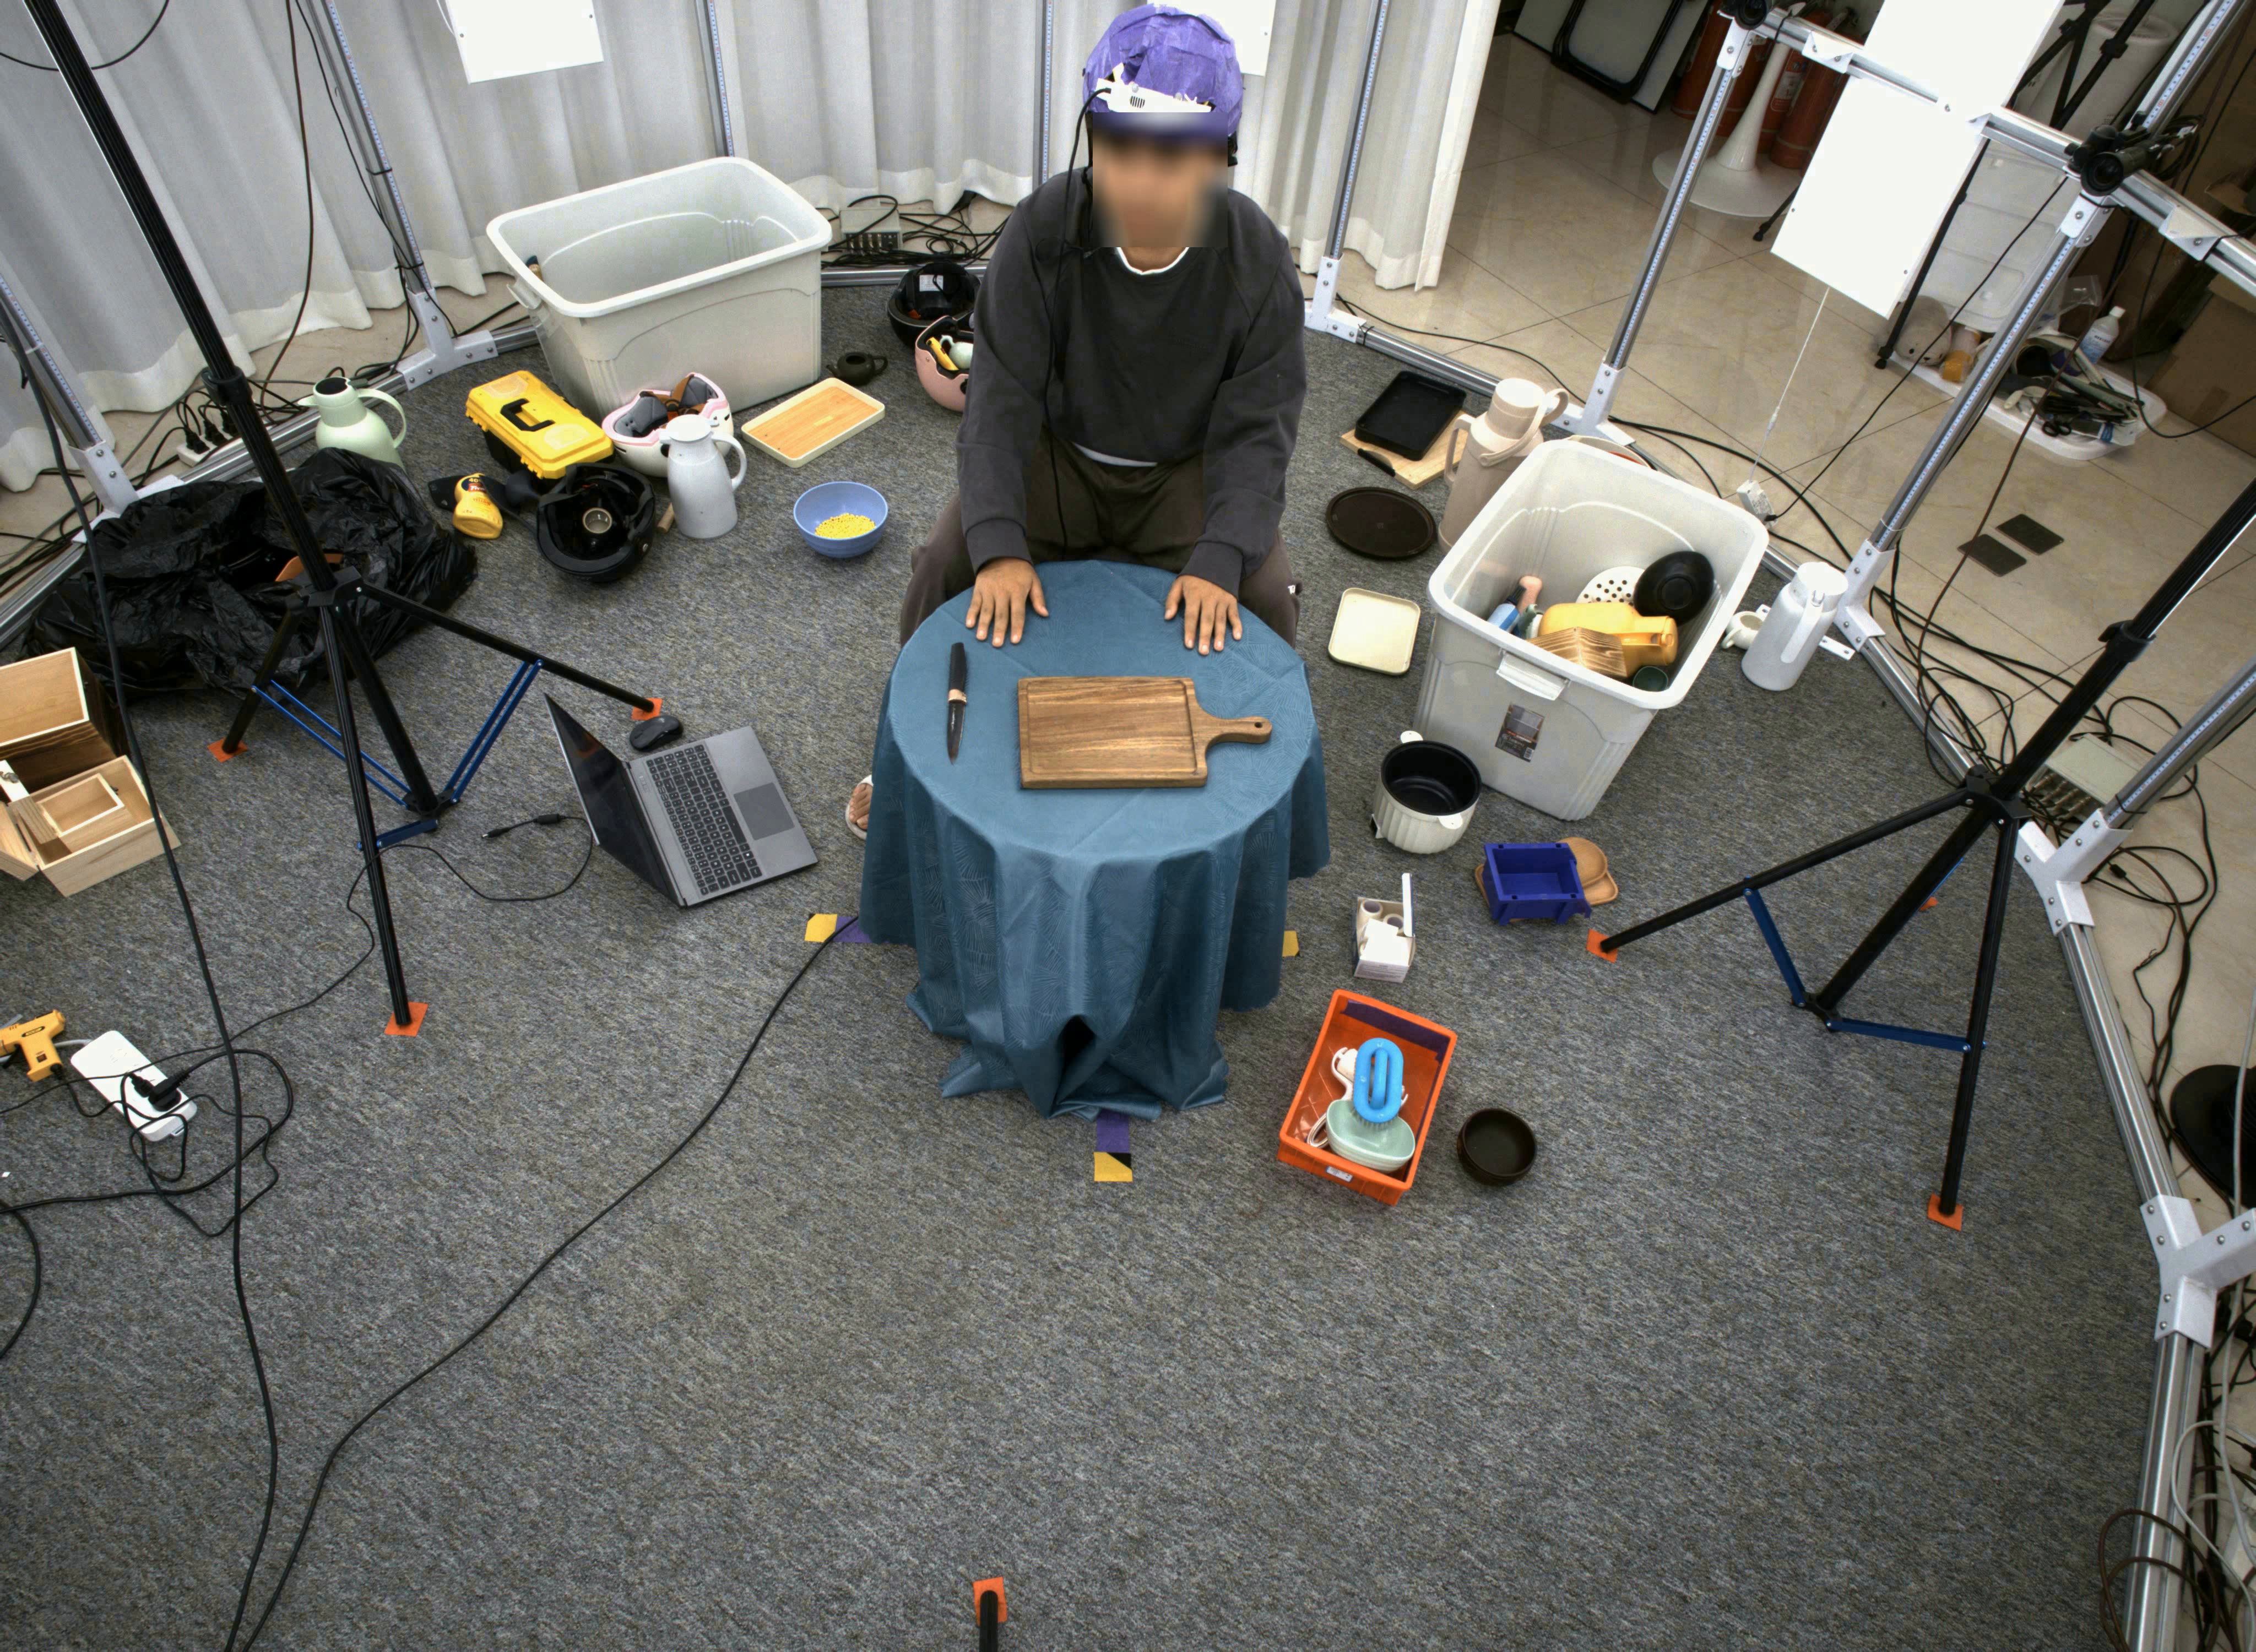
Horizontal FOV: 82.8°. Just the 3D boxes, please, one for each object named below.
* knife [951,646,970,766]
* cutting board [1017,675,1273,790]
[{"bbox_3d":[-0.233,-0.169,1.788,0.026,0.017,0.231,4,49,-8],"label":"knife"},{"bbox_3d":[0.026,-0.132,1.768,0.351,0.022,0.206,-1,49,-5],"label":"cutting board"}]
